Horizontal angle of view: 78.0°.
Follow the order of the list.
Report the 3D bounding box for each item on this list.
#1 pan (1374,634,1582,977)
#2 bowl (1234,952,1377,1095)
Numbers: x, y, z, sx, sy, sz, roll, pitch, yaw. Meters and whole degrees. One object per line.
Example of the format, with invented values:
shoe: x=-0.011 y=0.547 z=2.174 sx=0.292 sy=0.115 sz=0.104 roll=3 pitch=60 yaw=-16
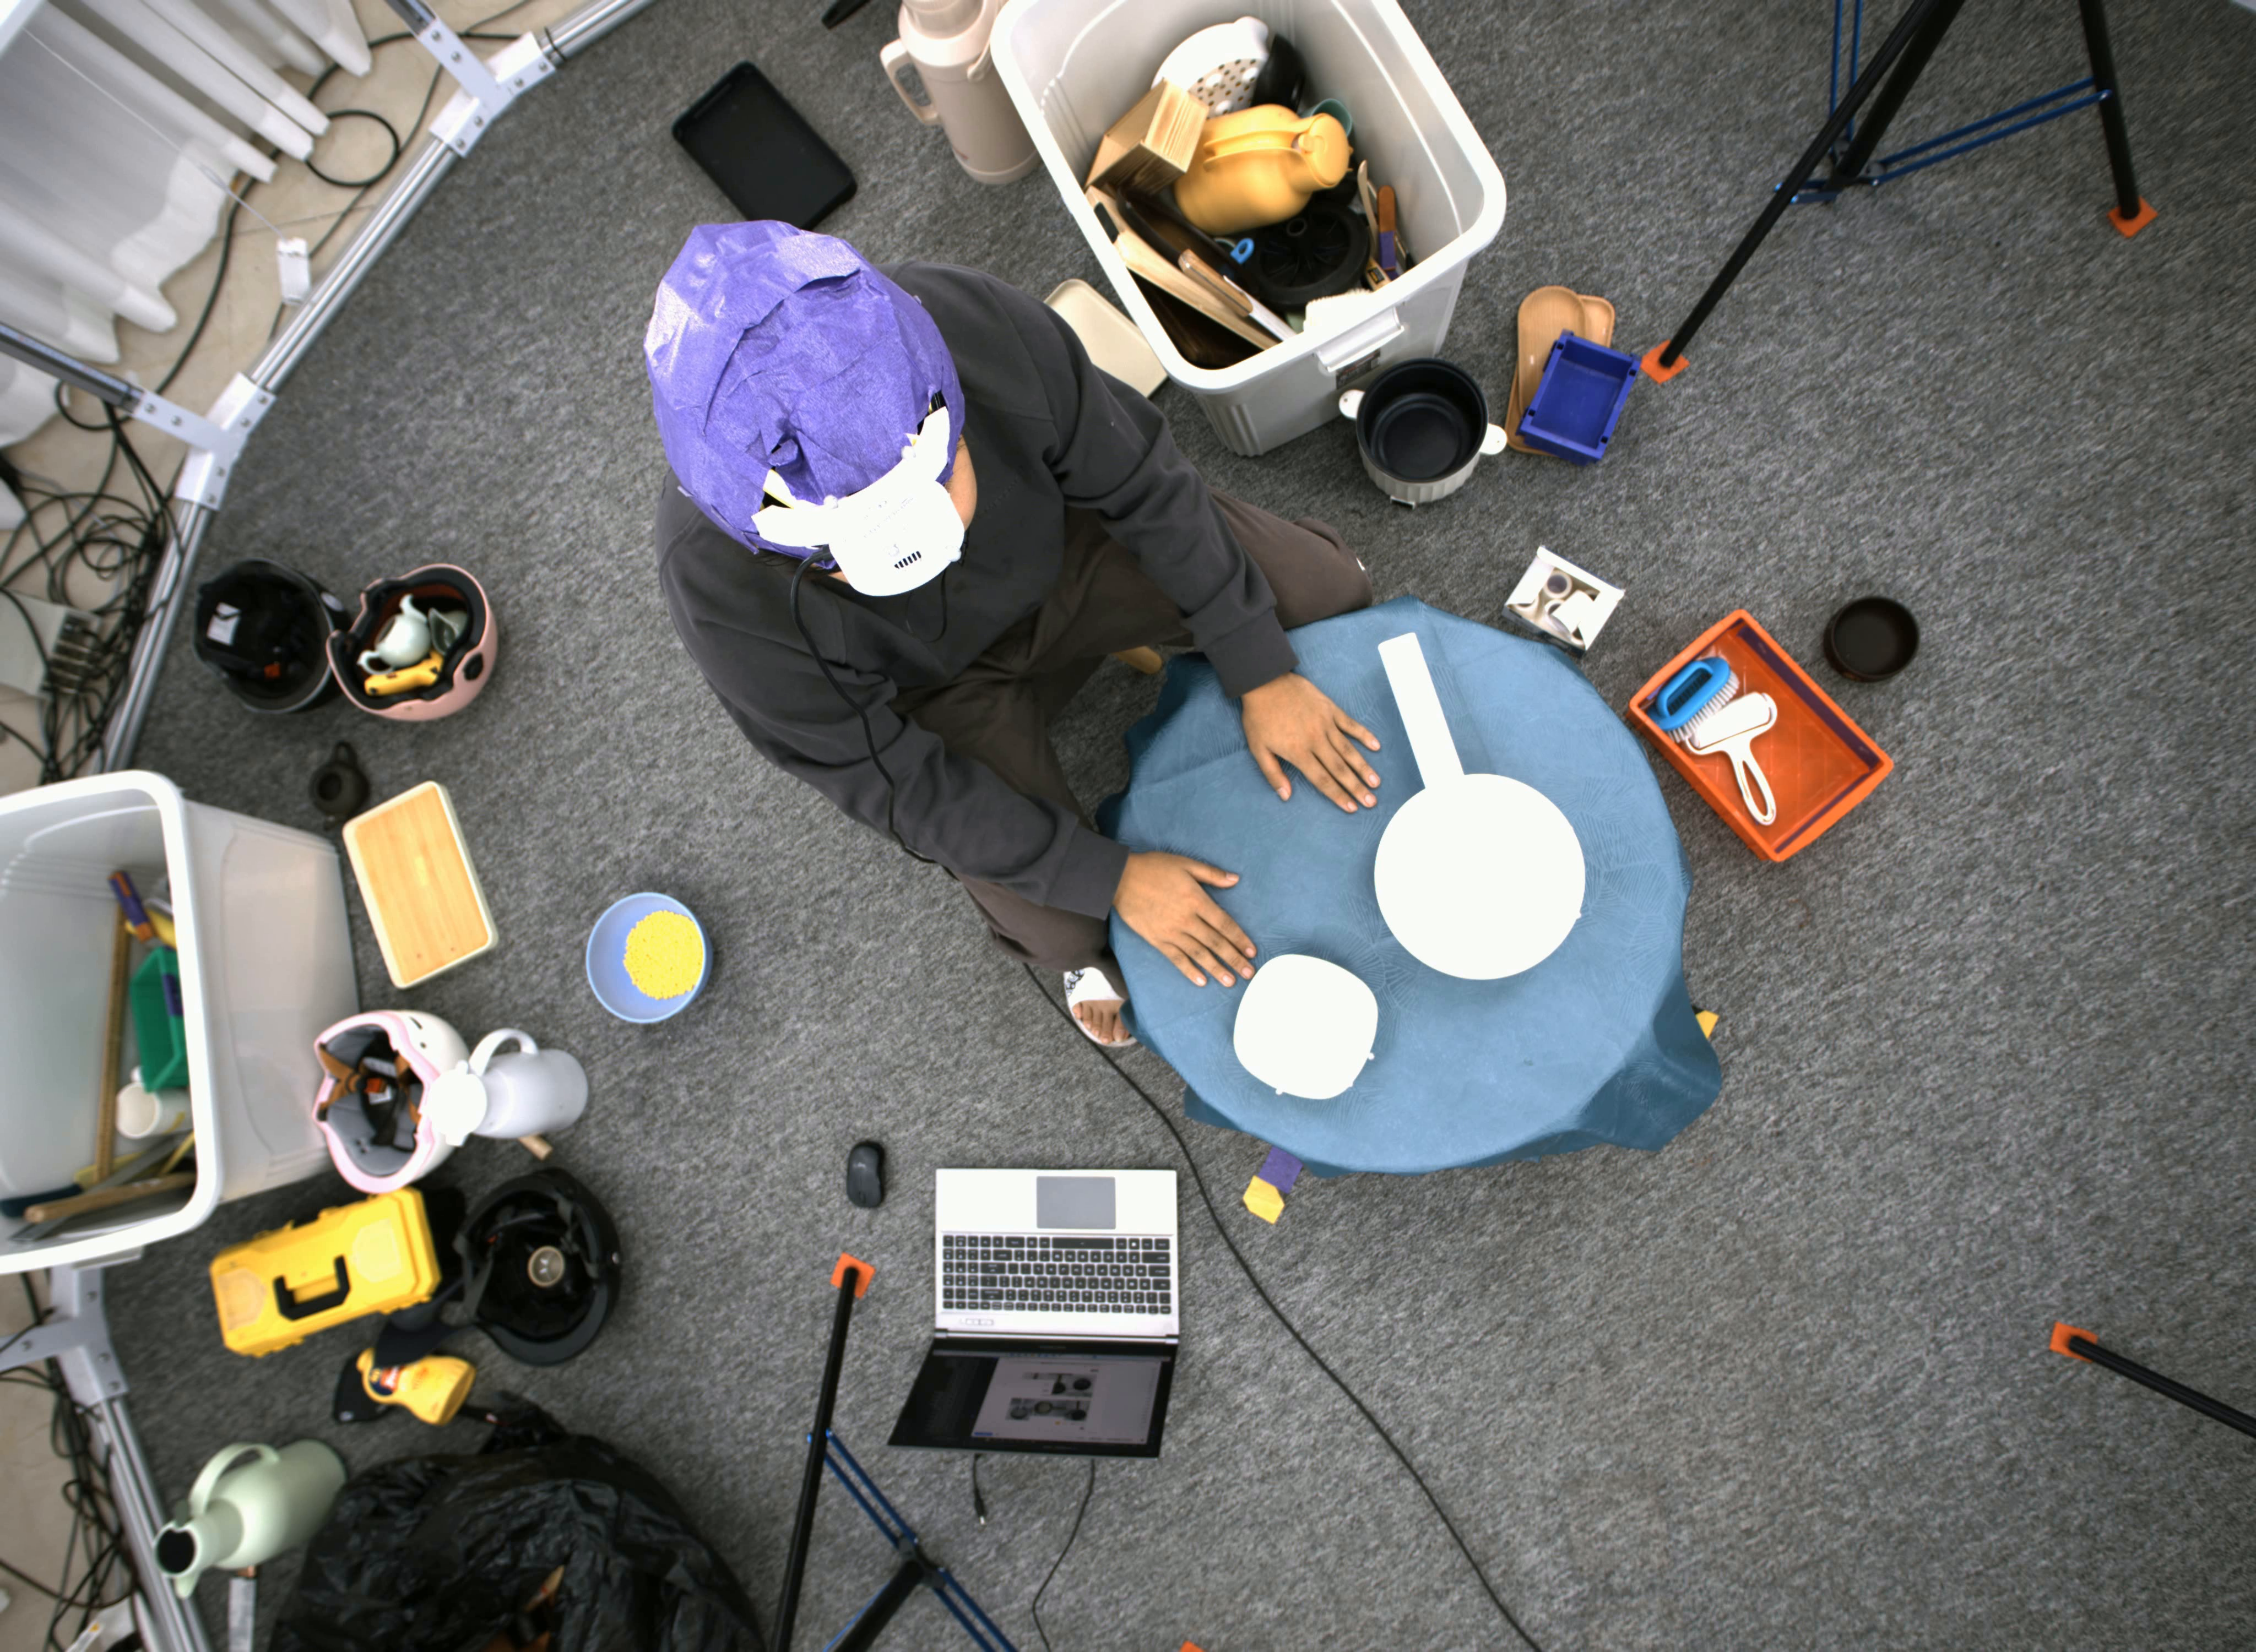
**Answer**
pan: x=0.330 y=-0.020 z=1.409 sx=0.202 sy=0.102 sz=0.352 roll=-19 pitch=82 yaw=11
bowl: x=0.185 y=0.203 z=1.441 sx=0.152 sy=0.058 sz=0.151 roll=-1 pitch=87 yaw=10
